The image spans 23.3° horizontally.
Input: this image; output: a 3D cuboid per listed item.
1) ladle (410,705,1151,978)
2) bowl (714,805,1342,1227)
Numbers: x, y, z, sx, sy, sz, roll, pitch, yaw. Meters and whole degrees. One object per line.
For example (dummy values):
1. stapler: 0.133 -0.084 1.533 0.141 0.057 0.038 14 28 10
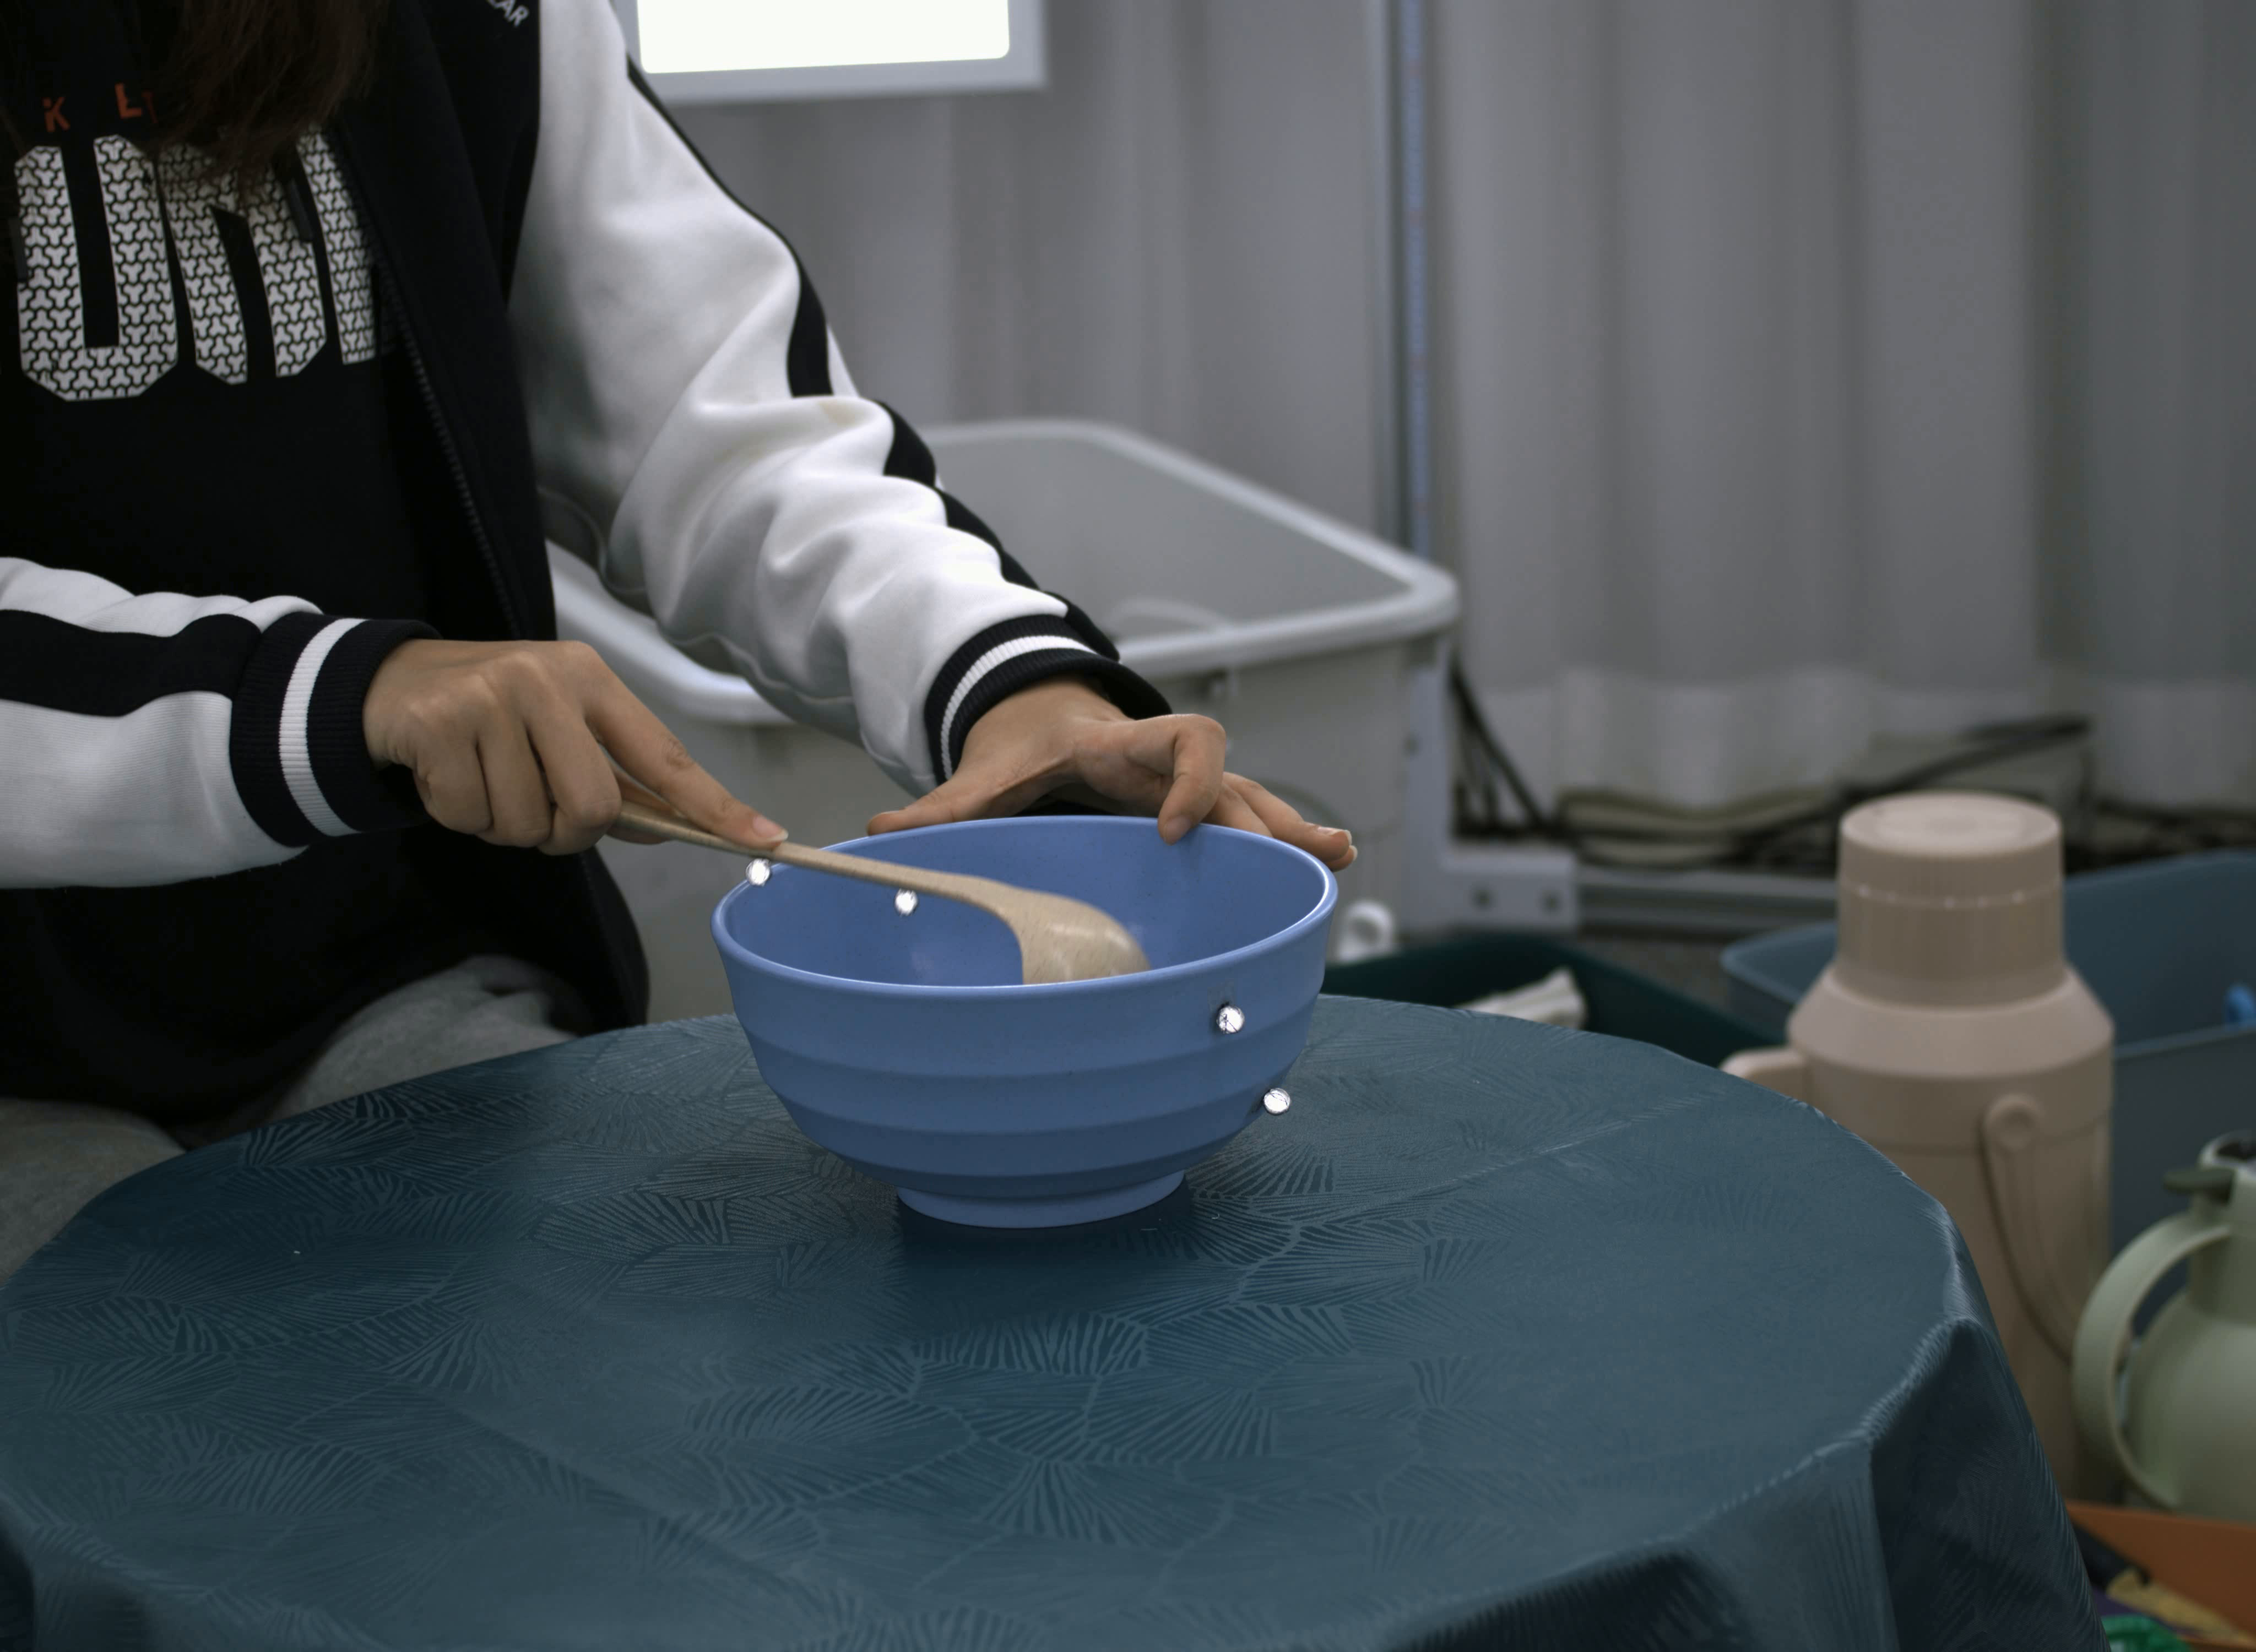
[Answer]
1. ladle: -0.116 0.033 1.731 0.254 0.072 0.072 17 19 7
2. bowl: -0.031 0.066 1.717 0.196 0.095 0.198 -1 16 0
